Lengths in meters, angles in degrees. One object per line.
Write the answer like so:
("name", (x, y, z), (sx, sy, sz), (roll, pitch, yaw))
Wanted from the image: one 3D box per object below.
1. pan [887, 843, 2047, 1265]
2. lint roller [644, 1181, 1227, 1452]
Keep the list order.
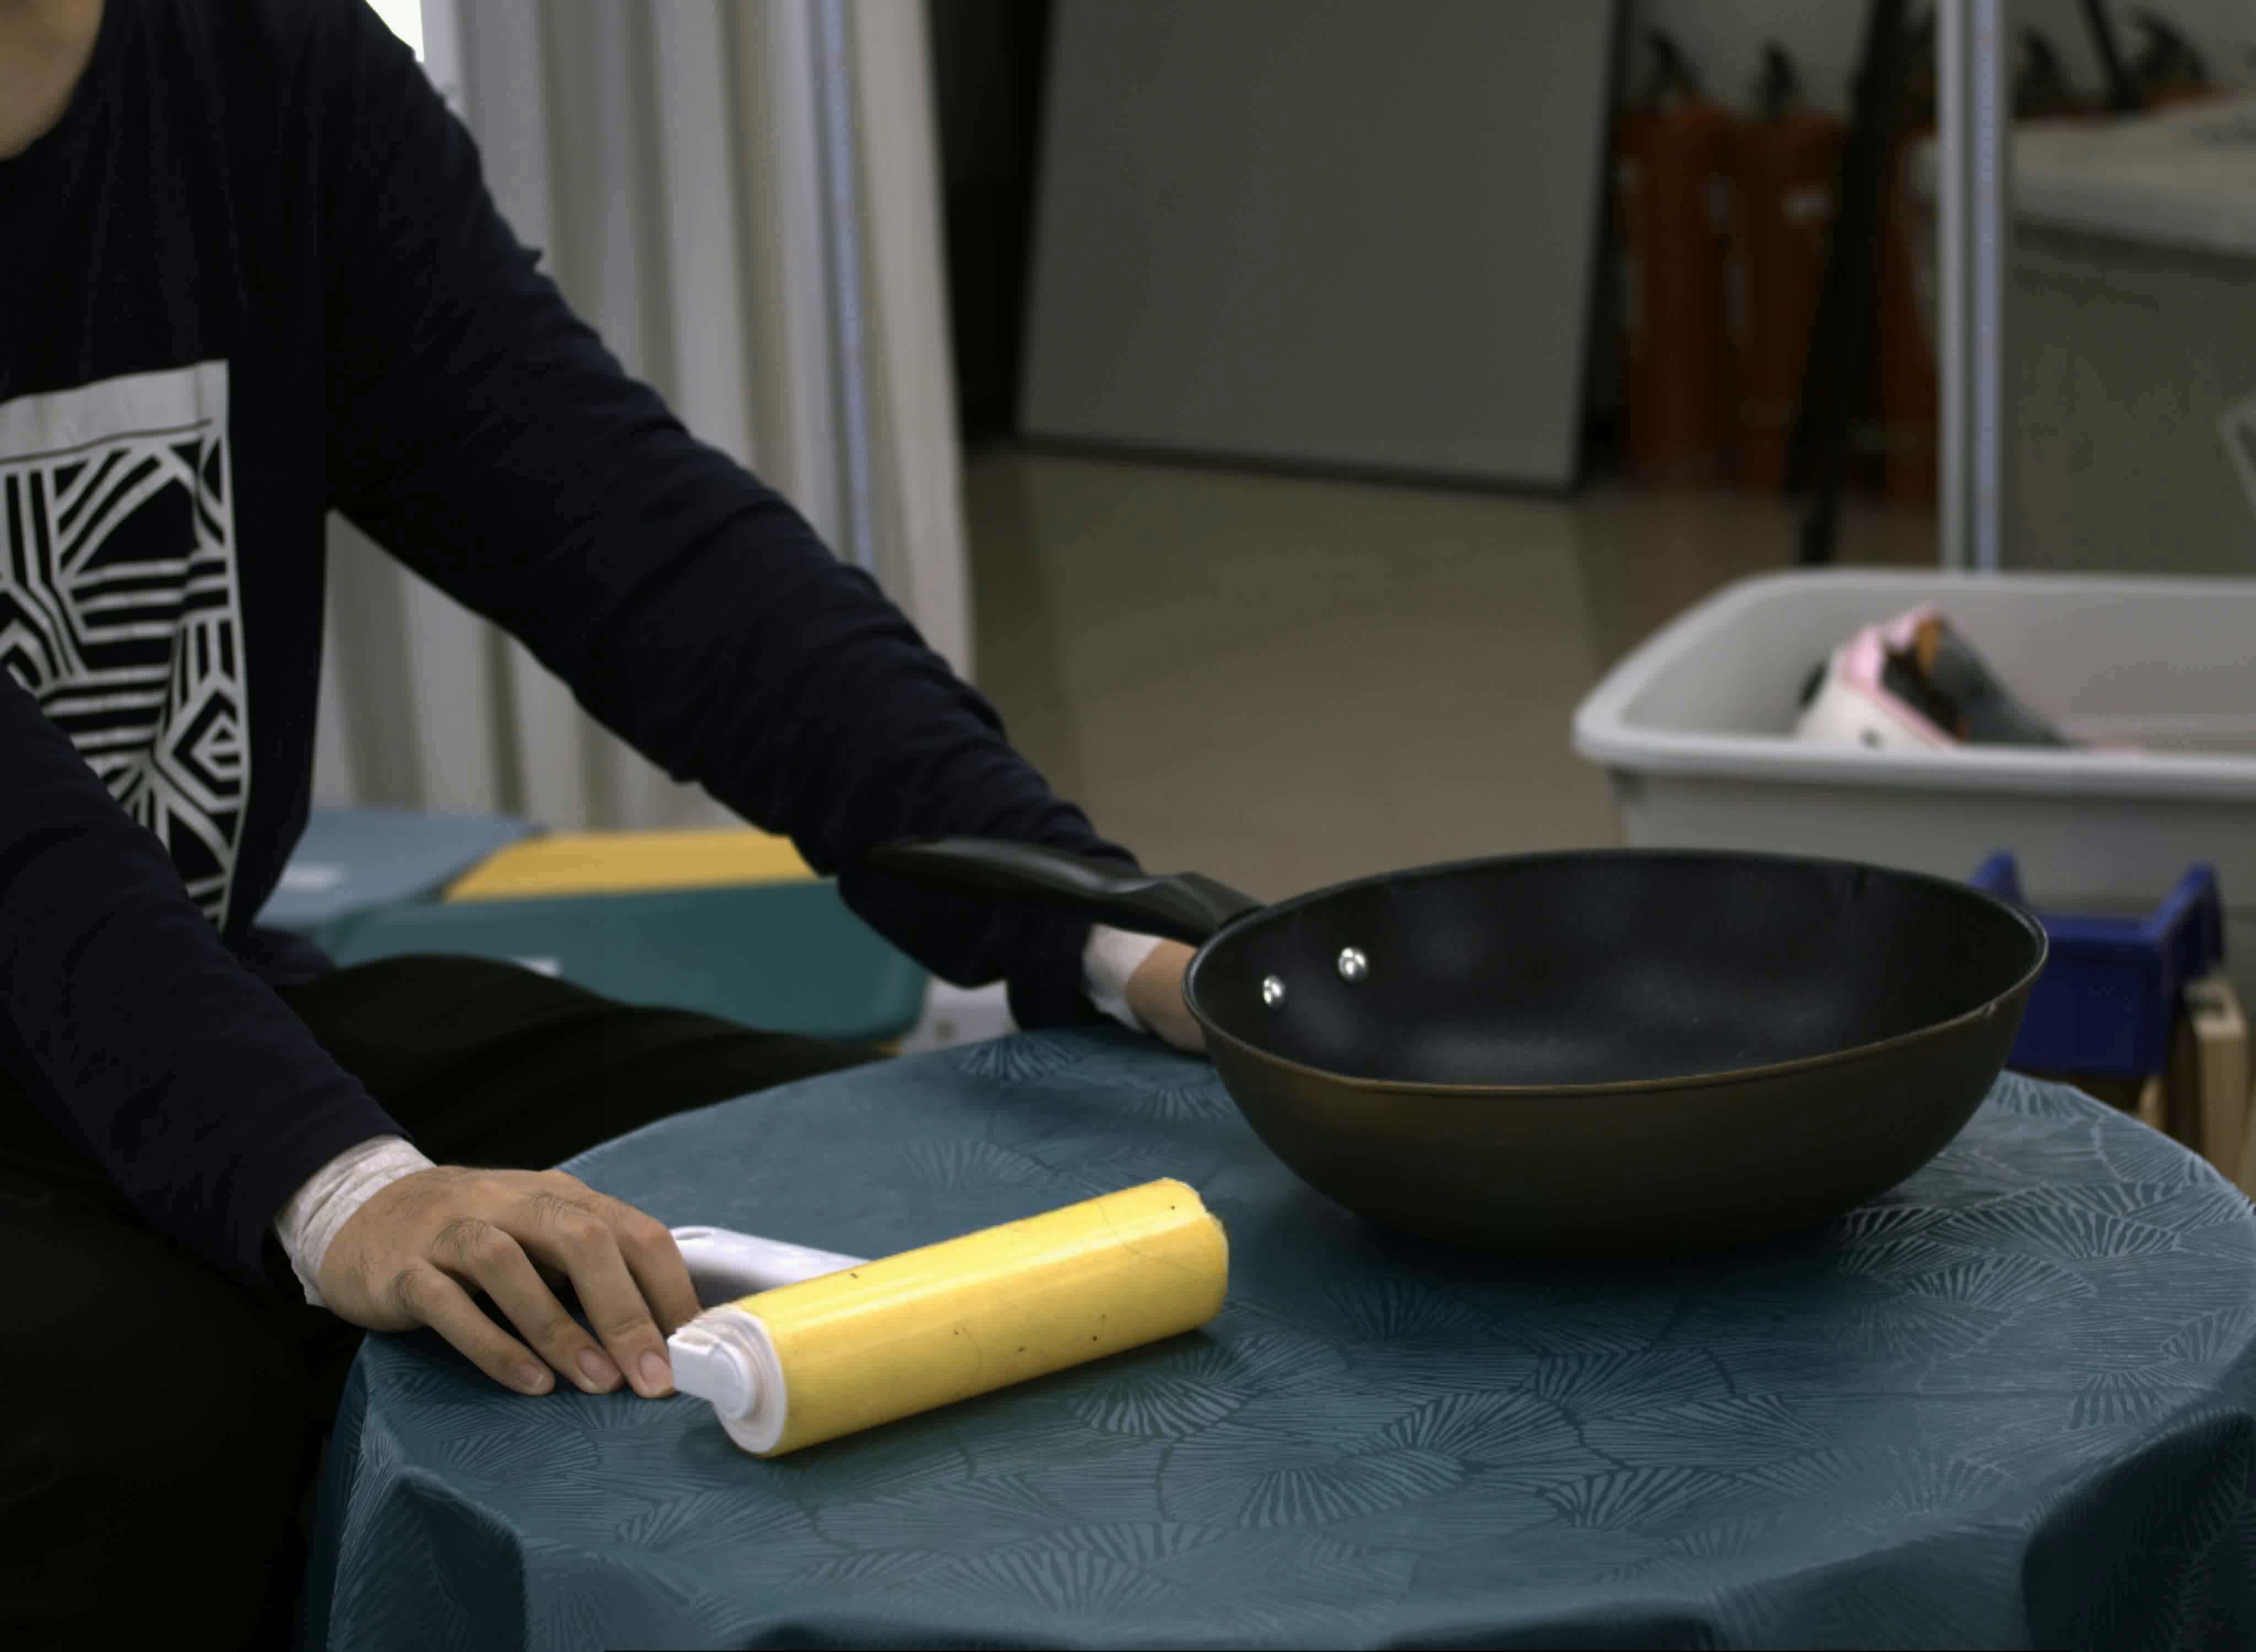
("pan", (0.088, 0.069, 1.788), (0.467, 0.088, 0.282), (8, 17, 42))
("lint roller", (-0.090, 0.134, 1.646), (0.170, 0.052, 0.194), (-13, 17, -35))
